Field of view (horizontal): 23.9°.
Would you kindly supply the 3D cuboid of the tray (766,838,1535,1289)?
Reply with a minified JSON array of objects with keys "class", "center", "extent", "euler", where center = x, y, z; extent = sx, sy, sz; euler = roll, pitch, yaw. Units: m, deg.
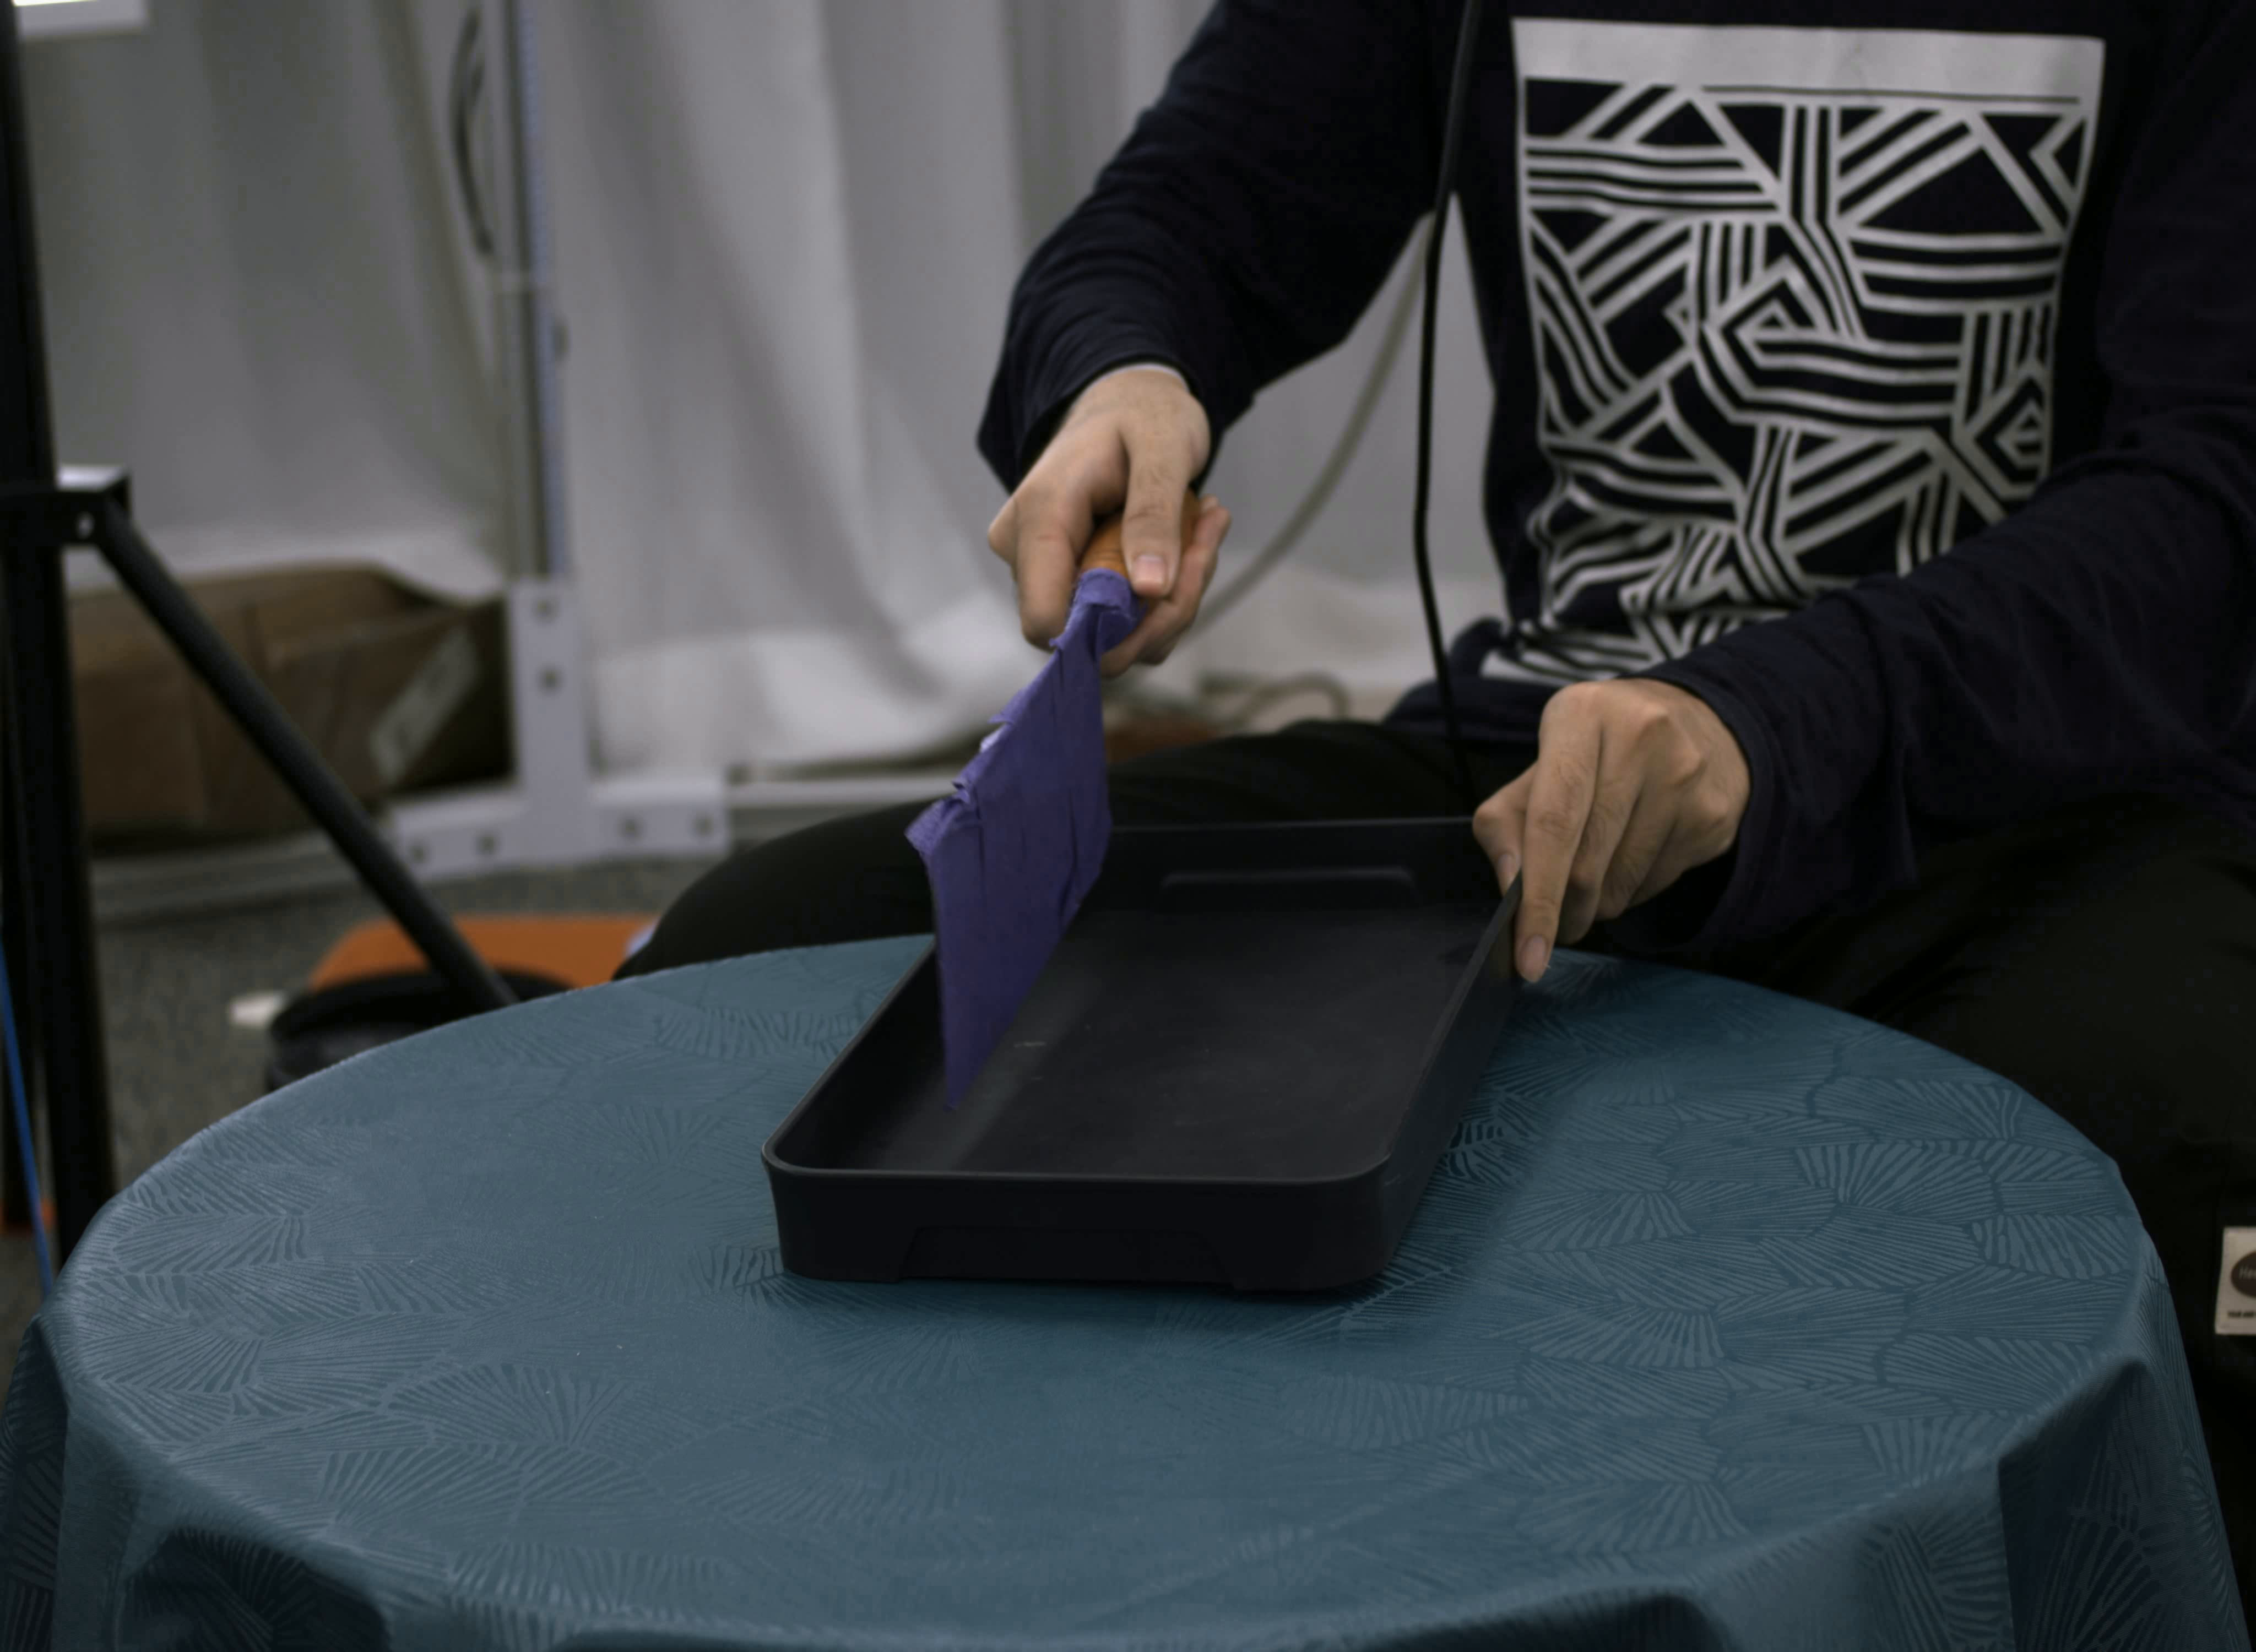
[{"class":"tray","center":[0.016,0.068,1.615],"extent":[0.185,0.037,0.316],"euler":[-2,16,14]}]

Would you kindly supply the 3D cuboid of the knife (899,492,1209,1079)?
[{"class":"knife","center":[-0.024,-0.016,1.696],"extent":[0.032,0.103,0.313],"euler":[3,23,15]}]
